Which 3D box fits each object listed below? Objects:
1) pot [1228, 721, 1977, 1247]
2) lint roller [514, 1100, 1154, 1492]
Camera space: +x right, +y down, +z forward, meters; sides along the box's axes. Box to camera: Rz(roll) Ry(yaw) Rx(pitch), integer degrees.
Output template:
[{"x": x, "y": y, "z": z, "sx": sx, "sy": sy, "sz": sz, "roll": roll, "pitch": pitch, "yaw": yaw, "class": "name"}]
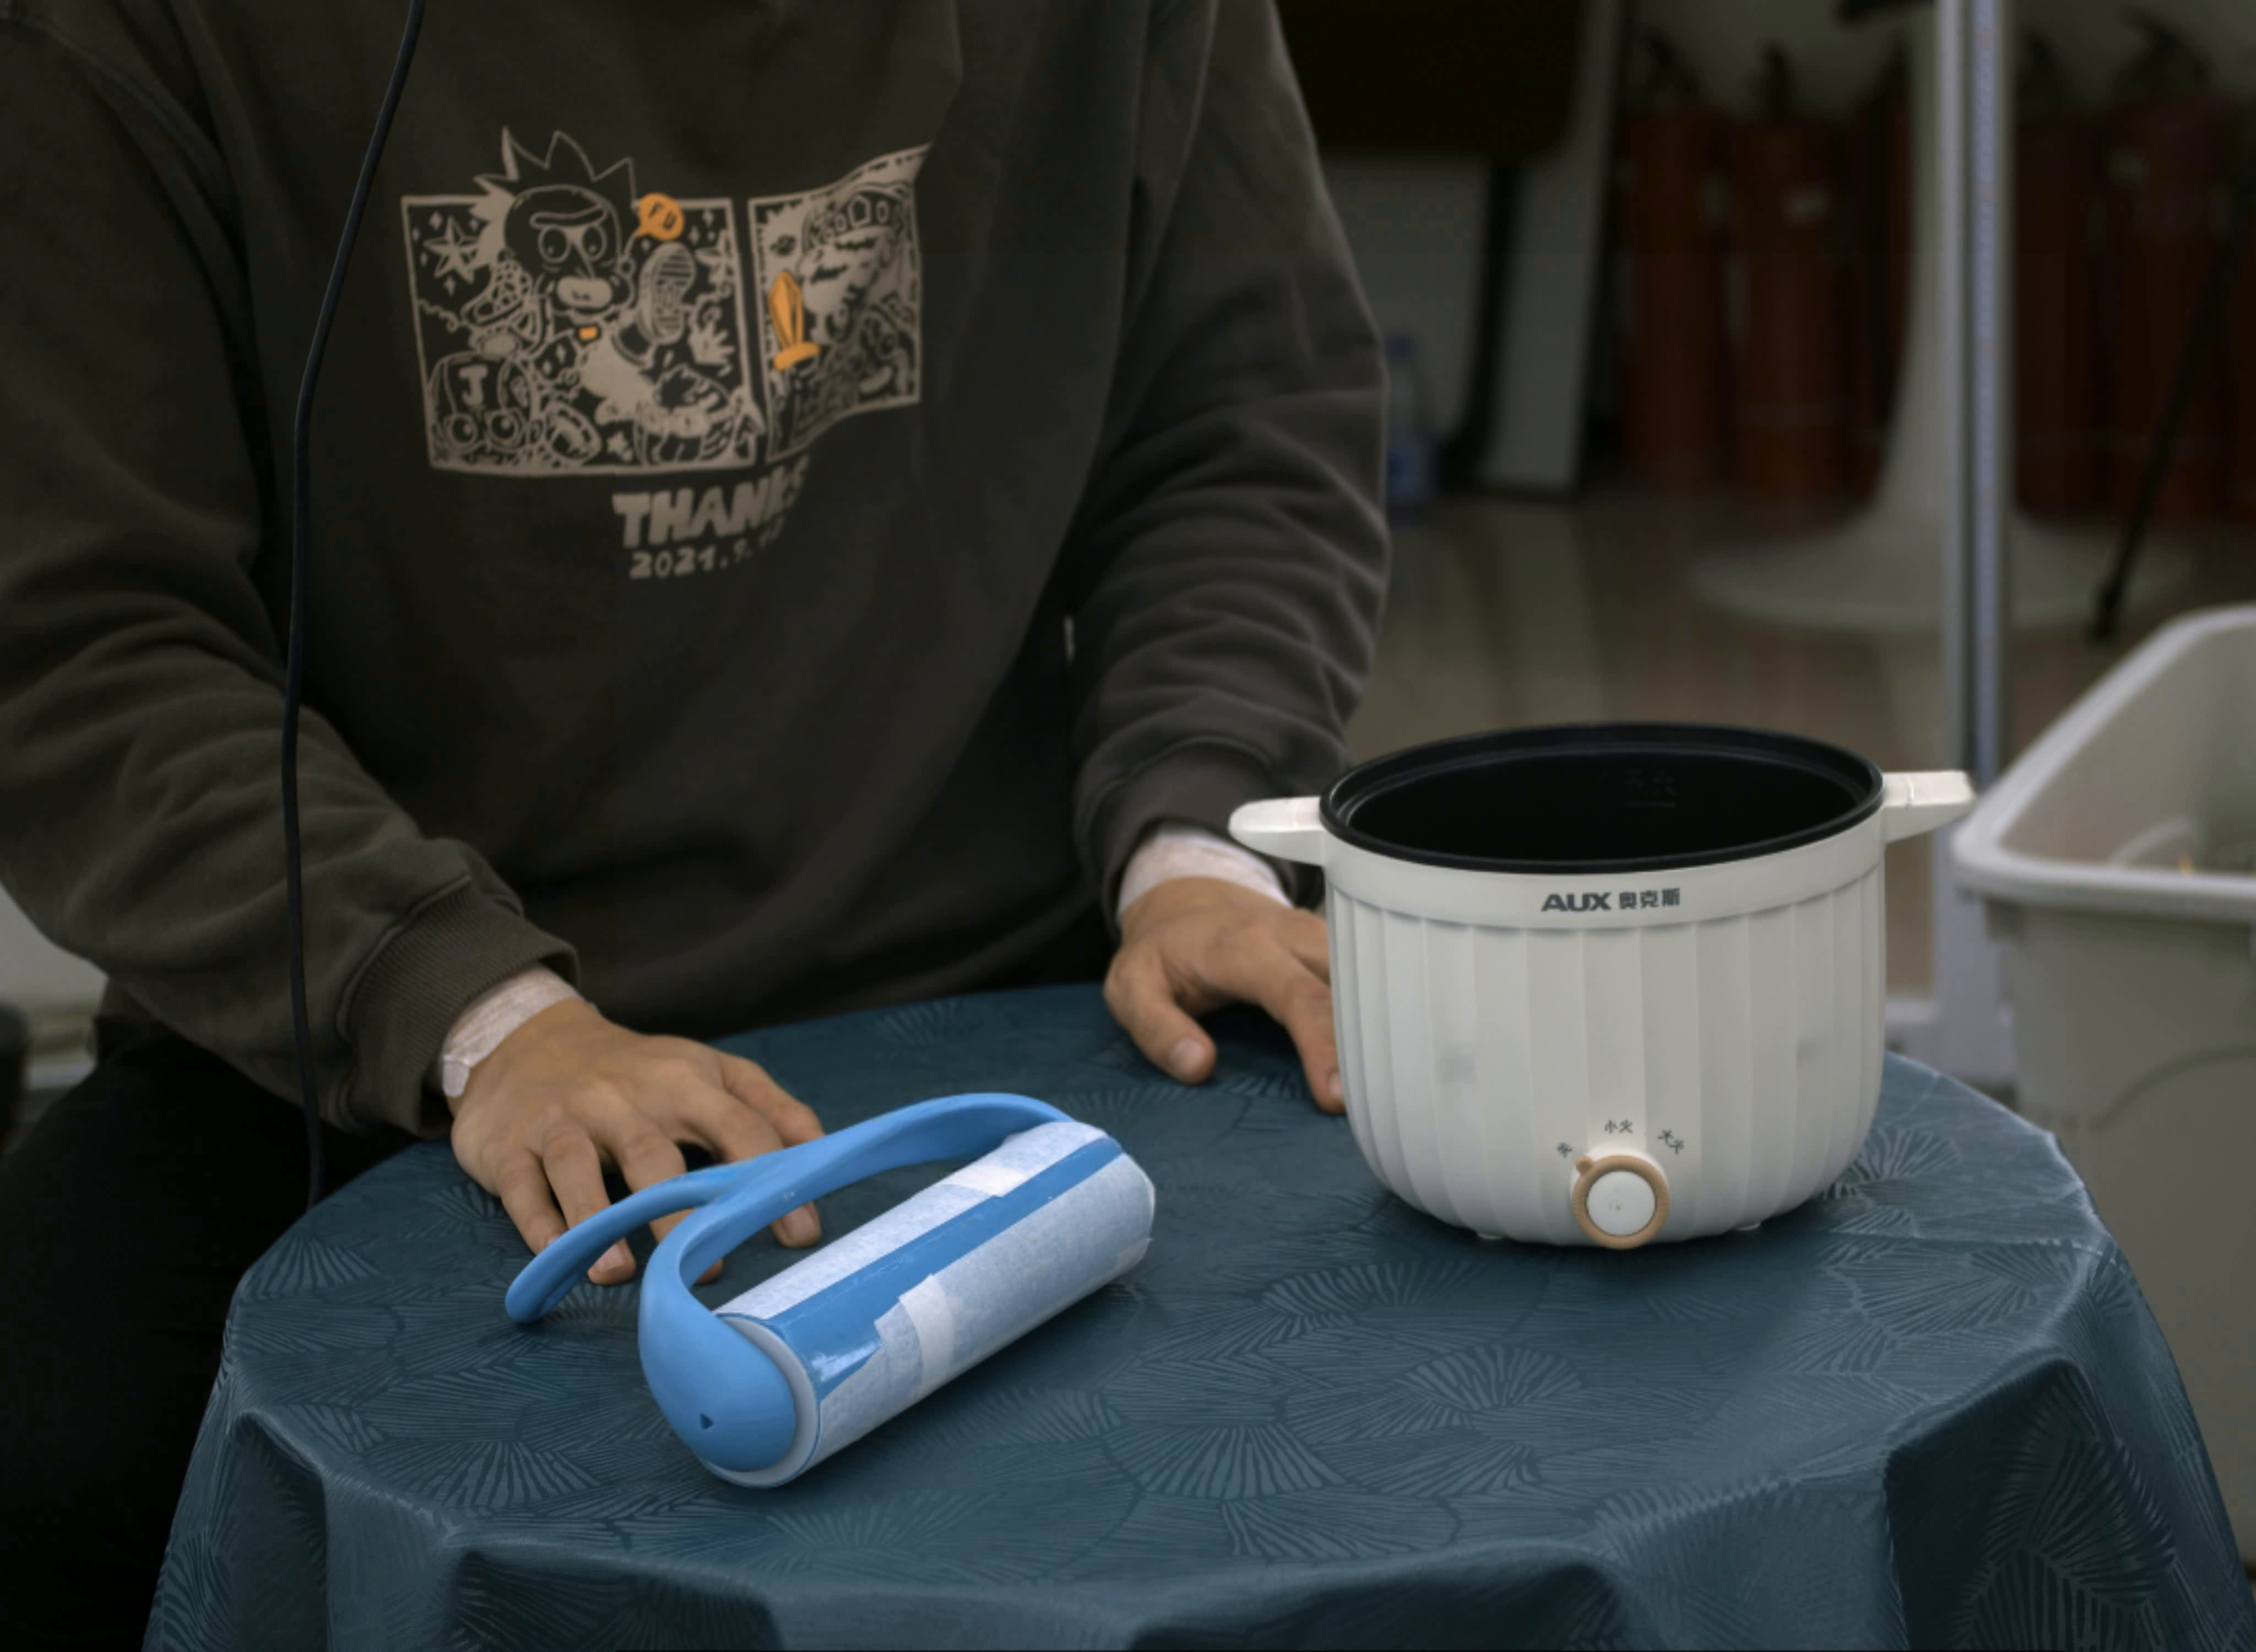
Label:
[{"x": 0.155, "y": 0.053, "z": 1.716, "sx": 0.238, "sy": 0.144, "sz": 0.190, "roll": -4, "pitch": 10, "yaw": 5, "class": "pot"}, {"x": -0.113, "y": 0.135, "z": 1.631, "sx": 0.181, "sy": 0.068, "sz": 0.226, "roll": 4, "pitch": 17, "yaw": 28, "class": "lint roller"}]
